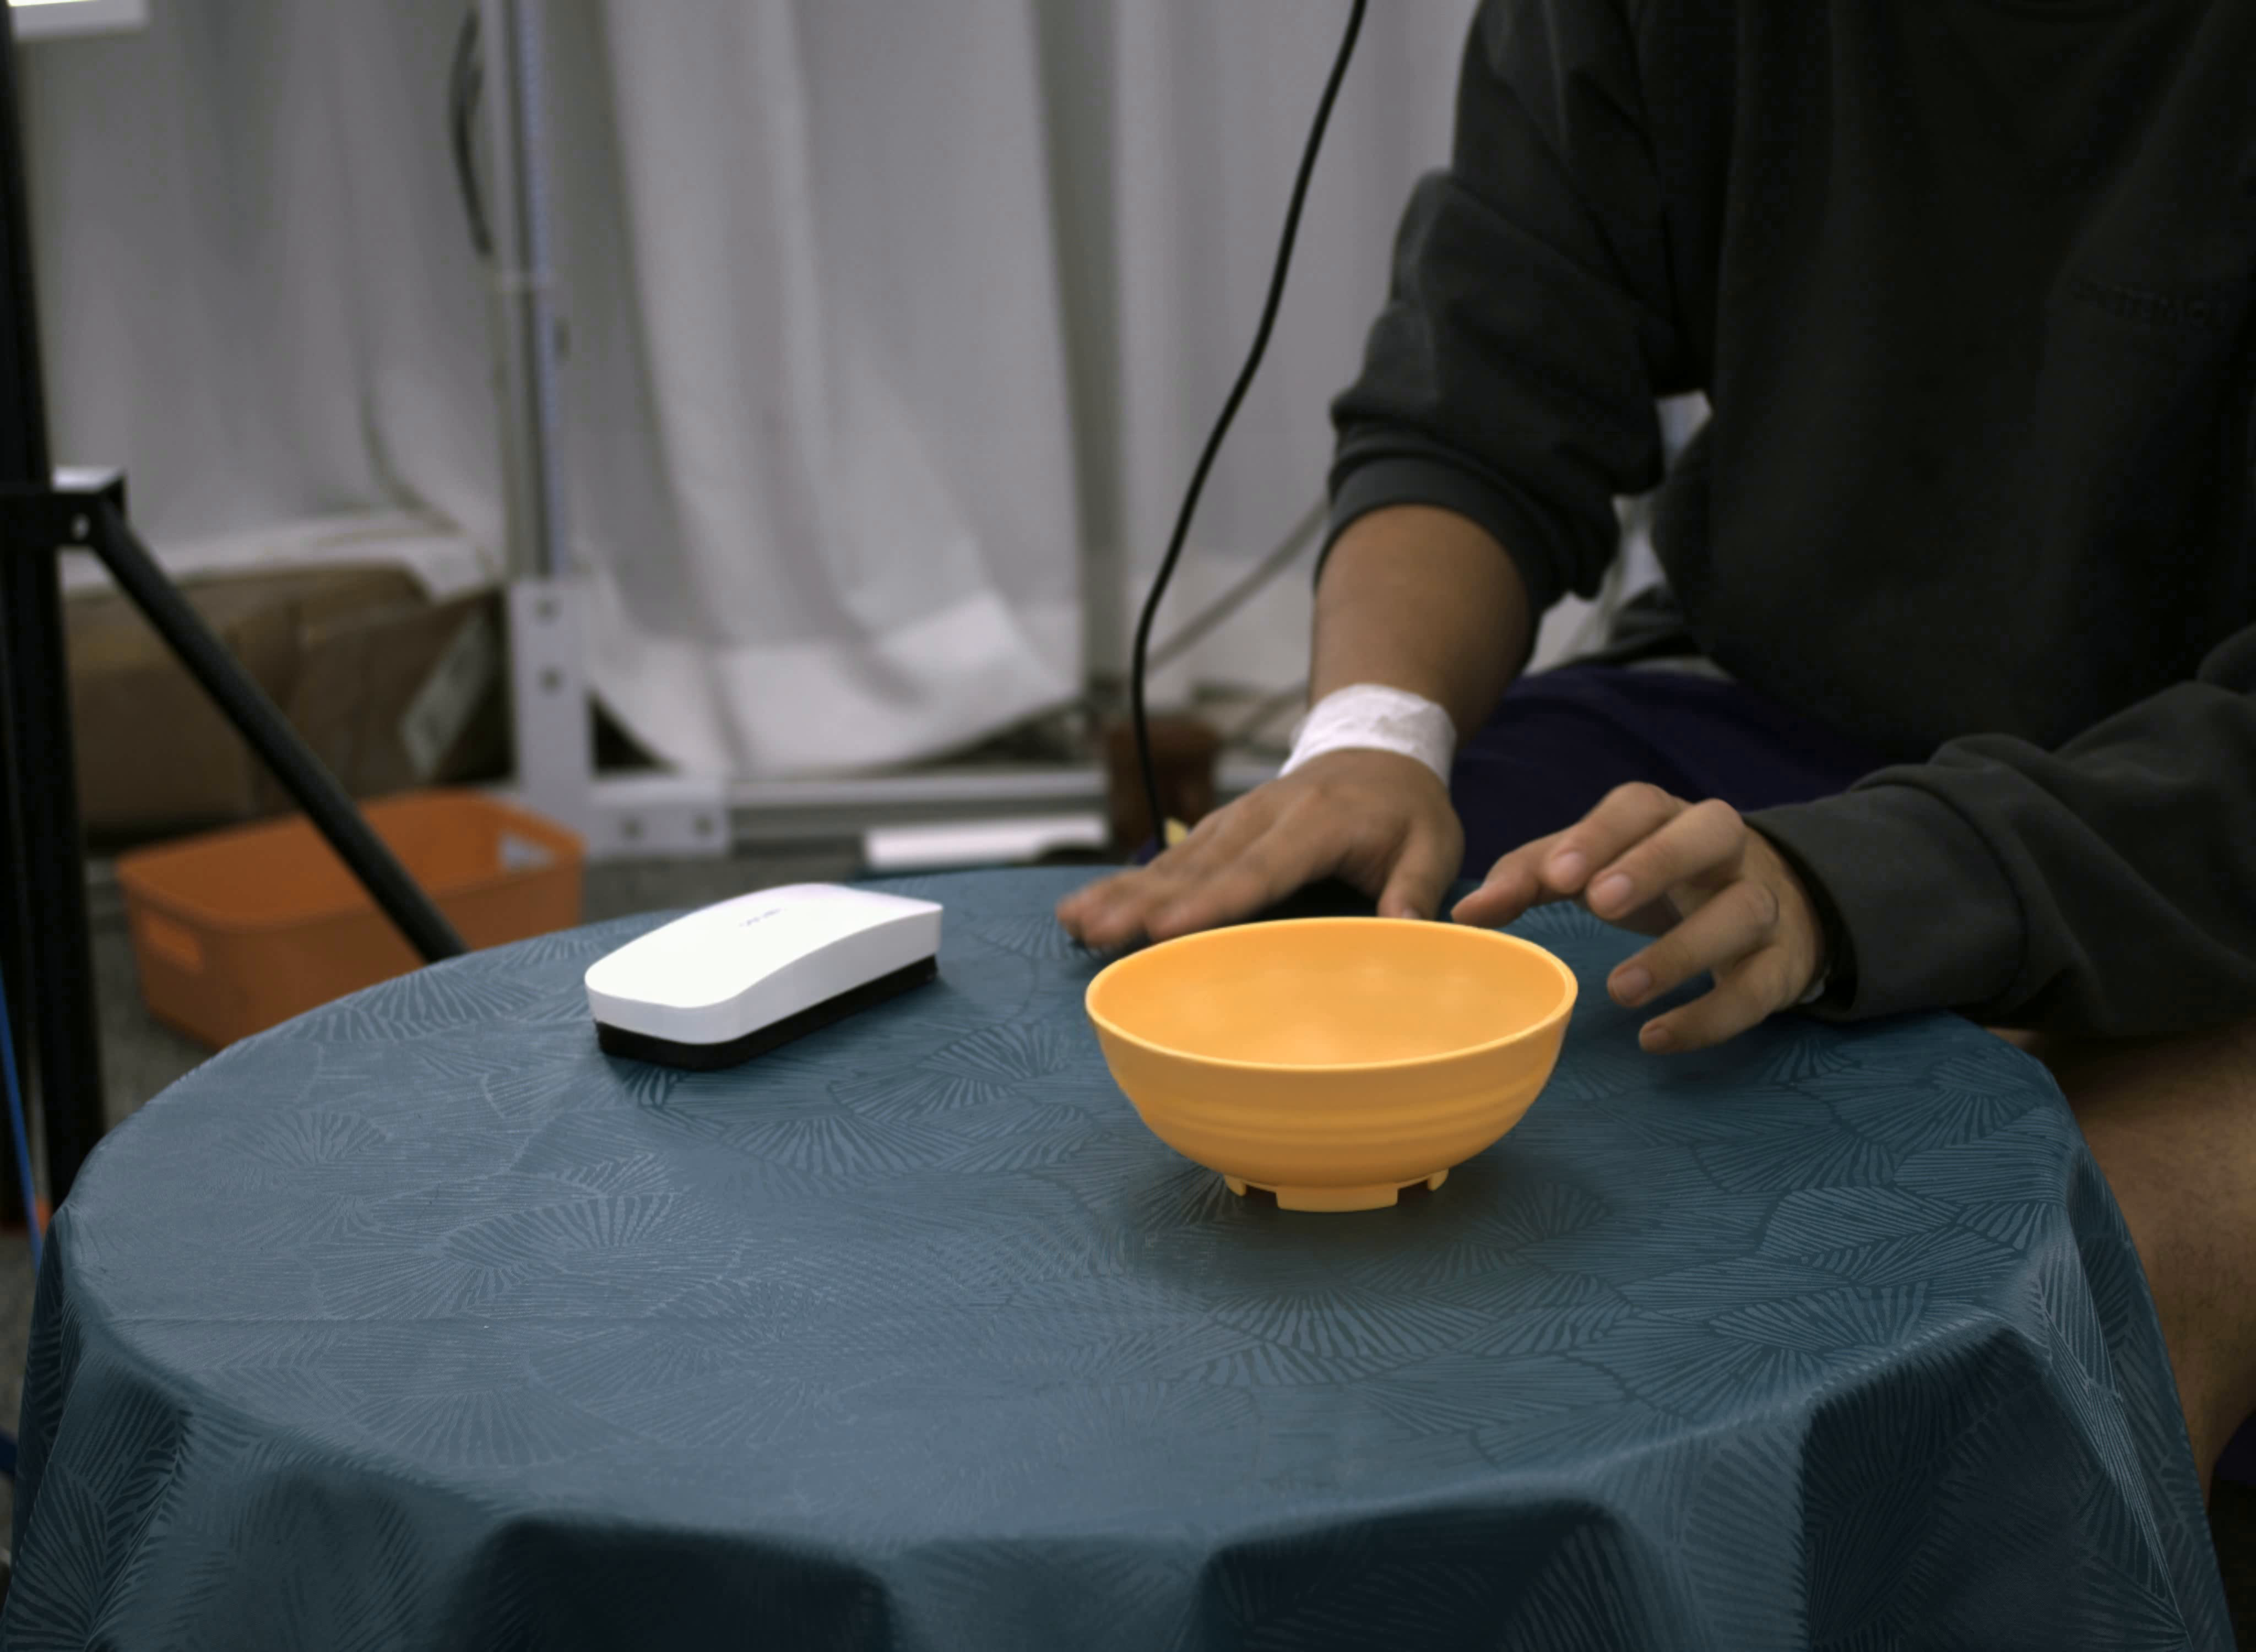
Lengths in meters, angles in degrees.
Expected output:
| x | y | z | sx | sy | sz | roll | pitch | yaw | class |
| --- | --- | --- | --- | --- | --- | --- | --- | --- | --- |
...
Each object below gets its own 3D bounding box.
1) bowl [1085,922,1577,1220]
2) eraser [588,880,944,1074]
| x | y | z | sx | sy | sz | roll | pitch | yaw | class |
| --- | --- | --- | --- | --- | --- | --- | --- | --- | --- |
| 0.059 | 0.077 | 1.559 | 0.144 | 0.060 | 0.146 | -1 | 15 | -1 | bowl |
| -0.116 | 0.046 | 1.742 | 0.065 | 0.034 | 0.128 | 9 | 20 | 36 | eraser |
